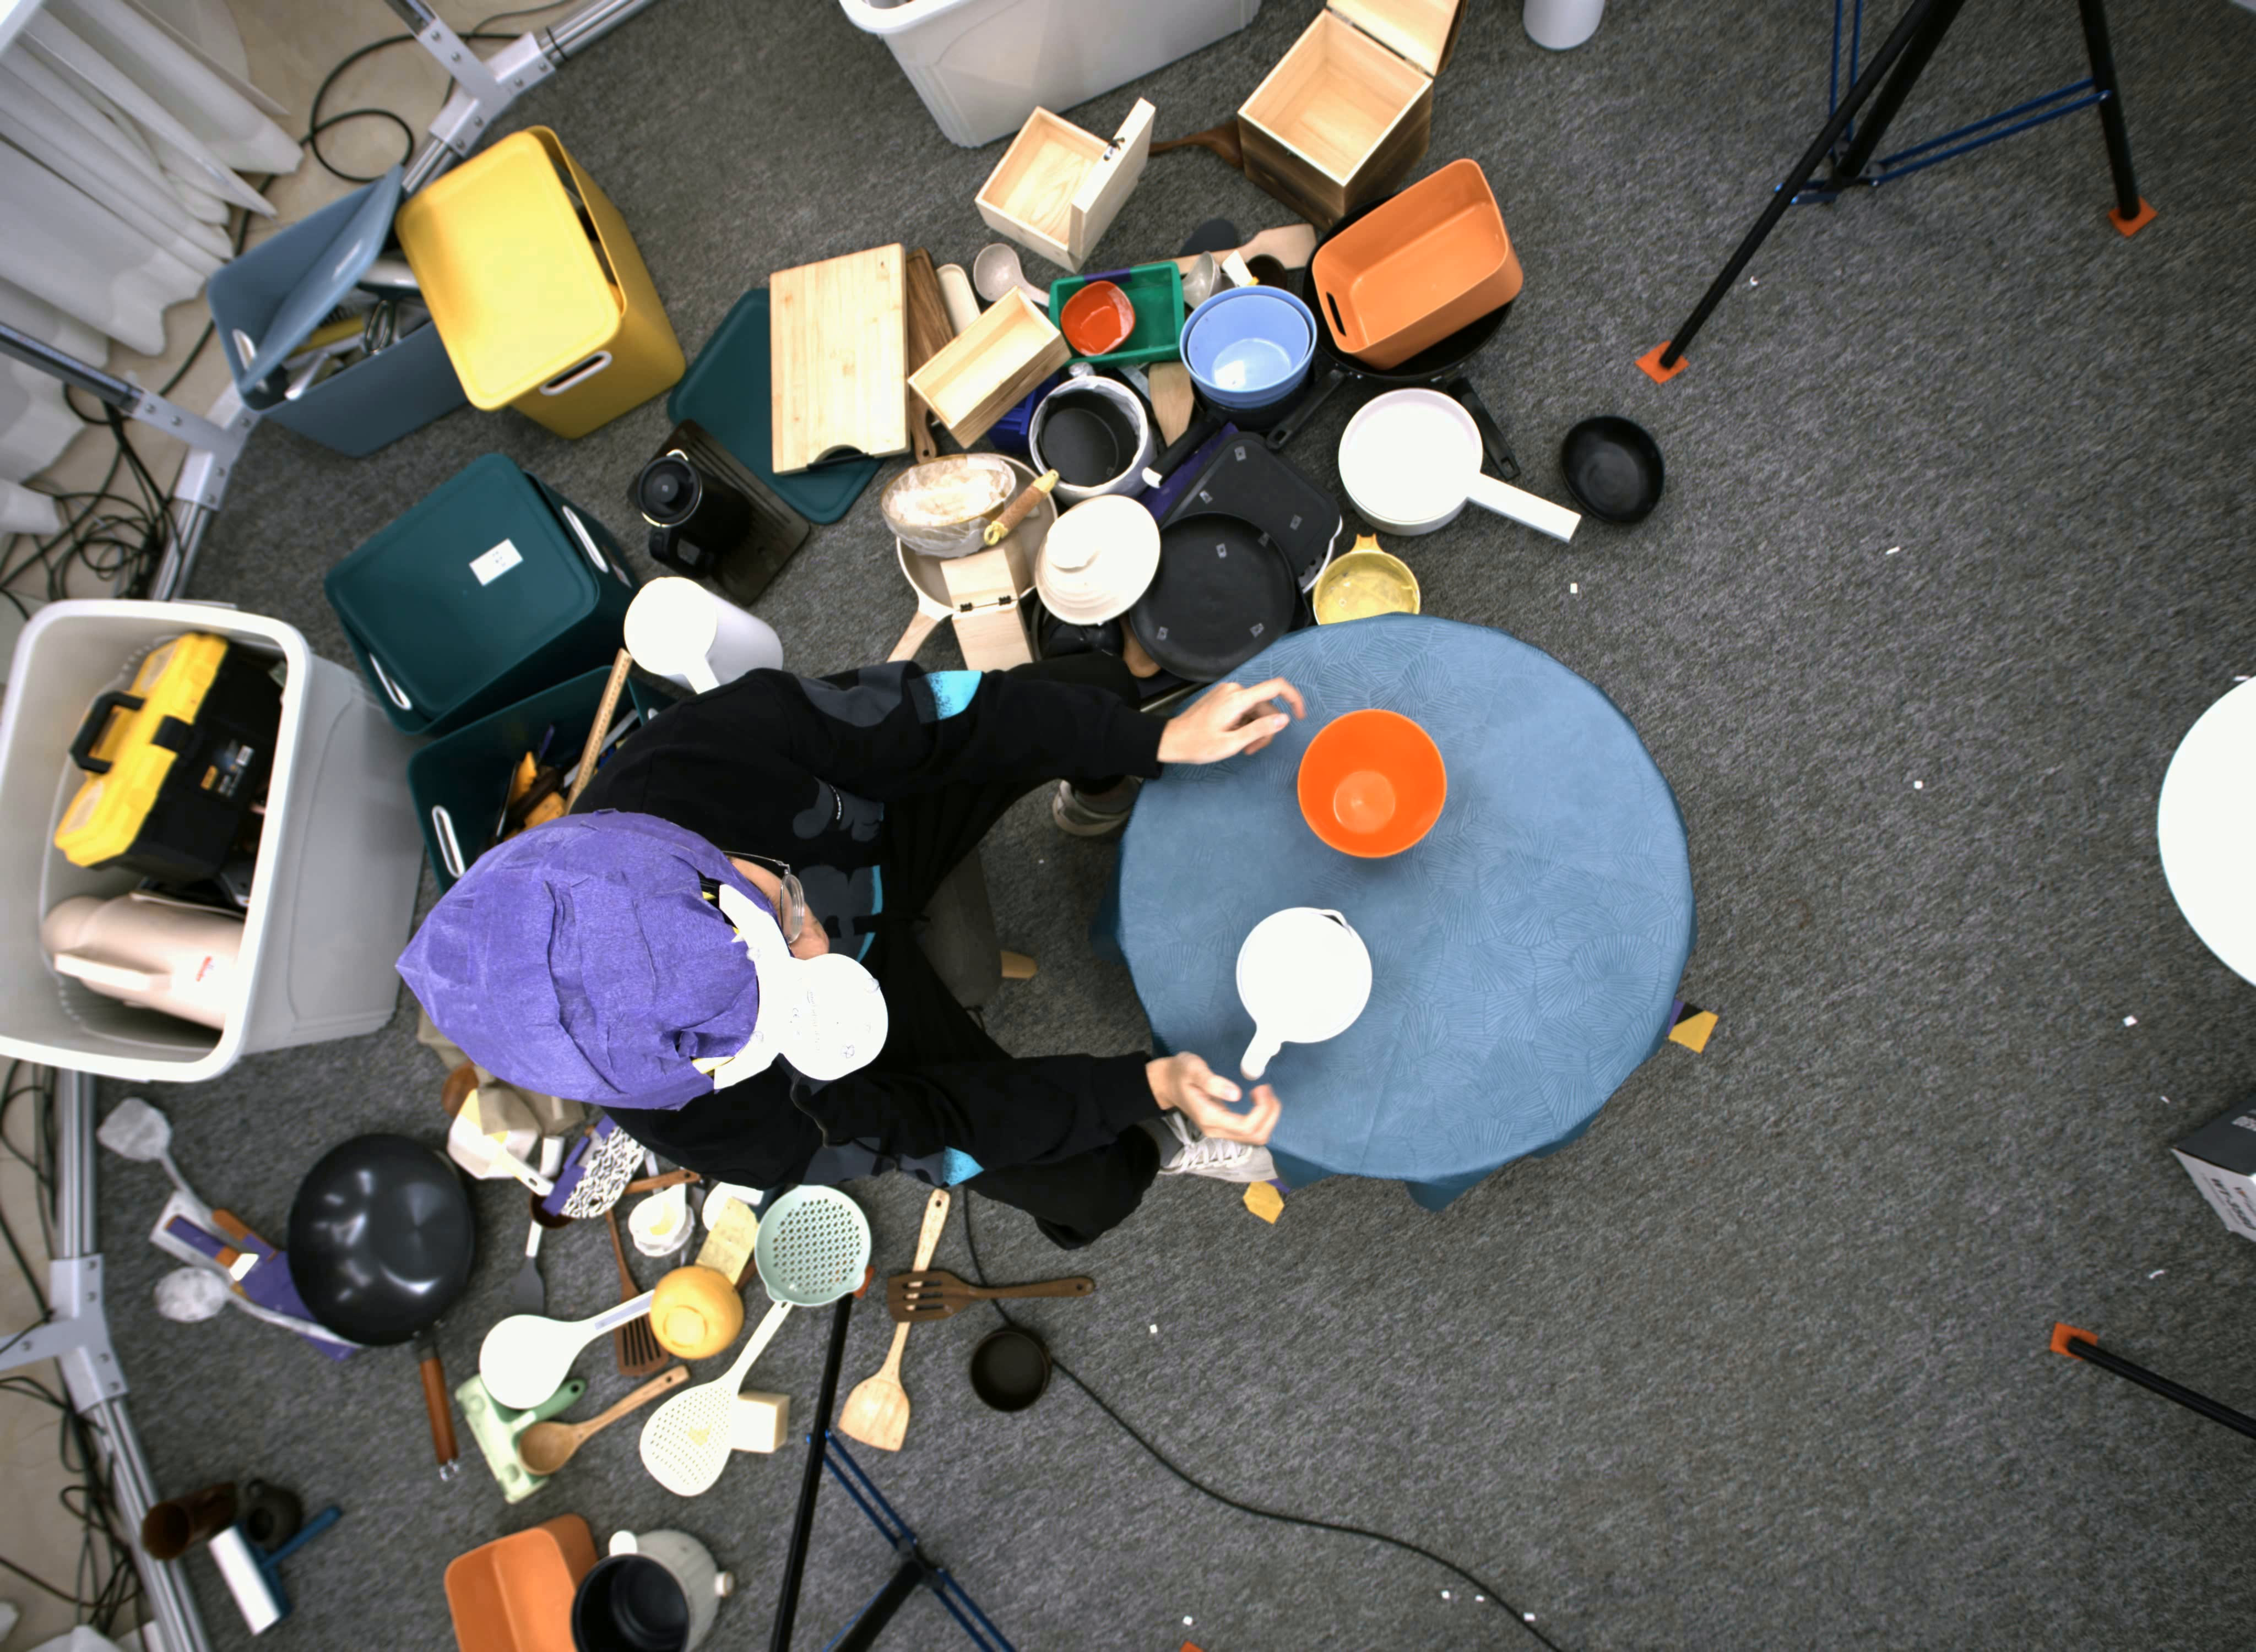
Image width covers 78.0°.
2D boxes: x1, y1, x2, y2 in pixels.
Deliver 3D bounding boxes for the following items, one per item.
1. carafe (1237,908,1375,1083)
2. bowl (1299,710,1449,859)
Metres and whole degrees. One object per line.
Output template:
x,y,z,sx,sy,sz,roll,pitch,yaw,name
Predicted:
0.168,0.170,1.383,0.132,0.182,0.191,28,93,12,carafe
0.251,-0.038,1.413,0.148,0.105,0.147,-1,86,10,bowl
